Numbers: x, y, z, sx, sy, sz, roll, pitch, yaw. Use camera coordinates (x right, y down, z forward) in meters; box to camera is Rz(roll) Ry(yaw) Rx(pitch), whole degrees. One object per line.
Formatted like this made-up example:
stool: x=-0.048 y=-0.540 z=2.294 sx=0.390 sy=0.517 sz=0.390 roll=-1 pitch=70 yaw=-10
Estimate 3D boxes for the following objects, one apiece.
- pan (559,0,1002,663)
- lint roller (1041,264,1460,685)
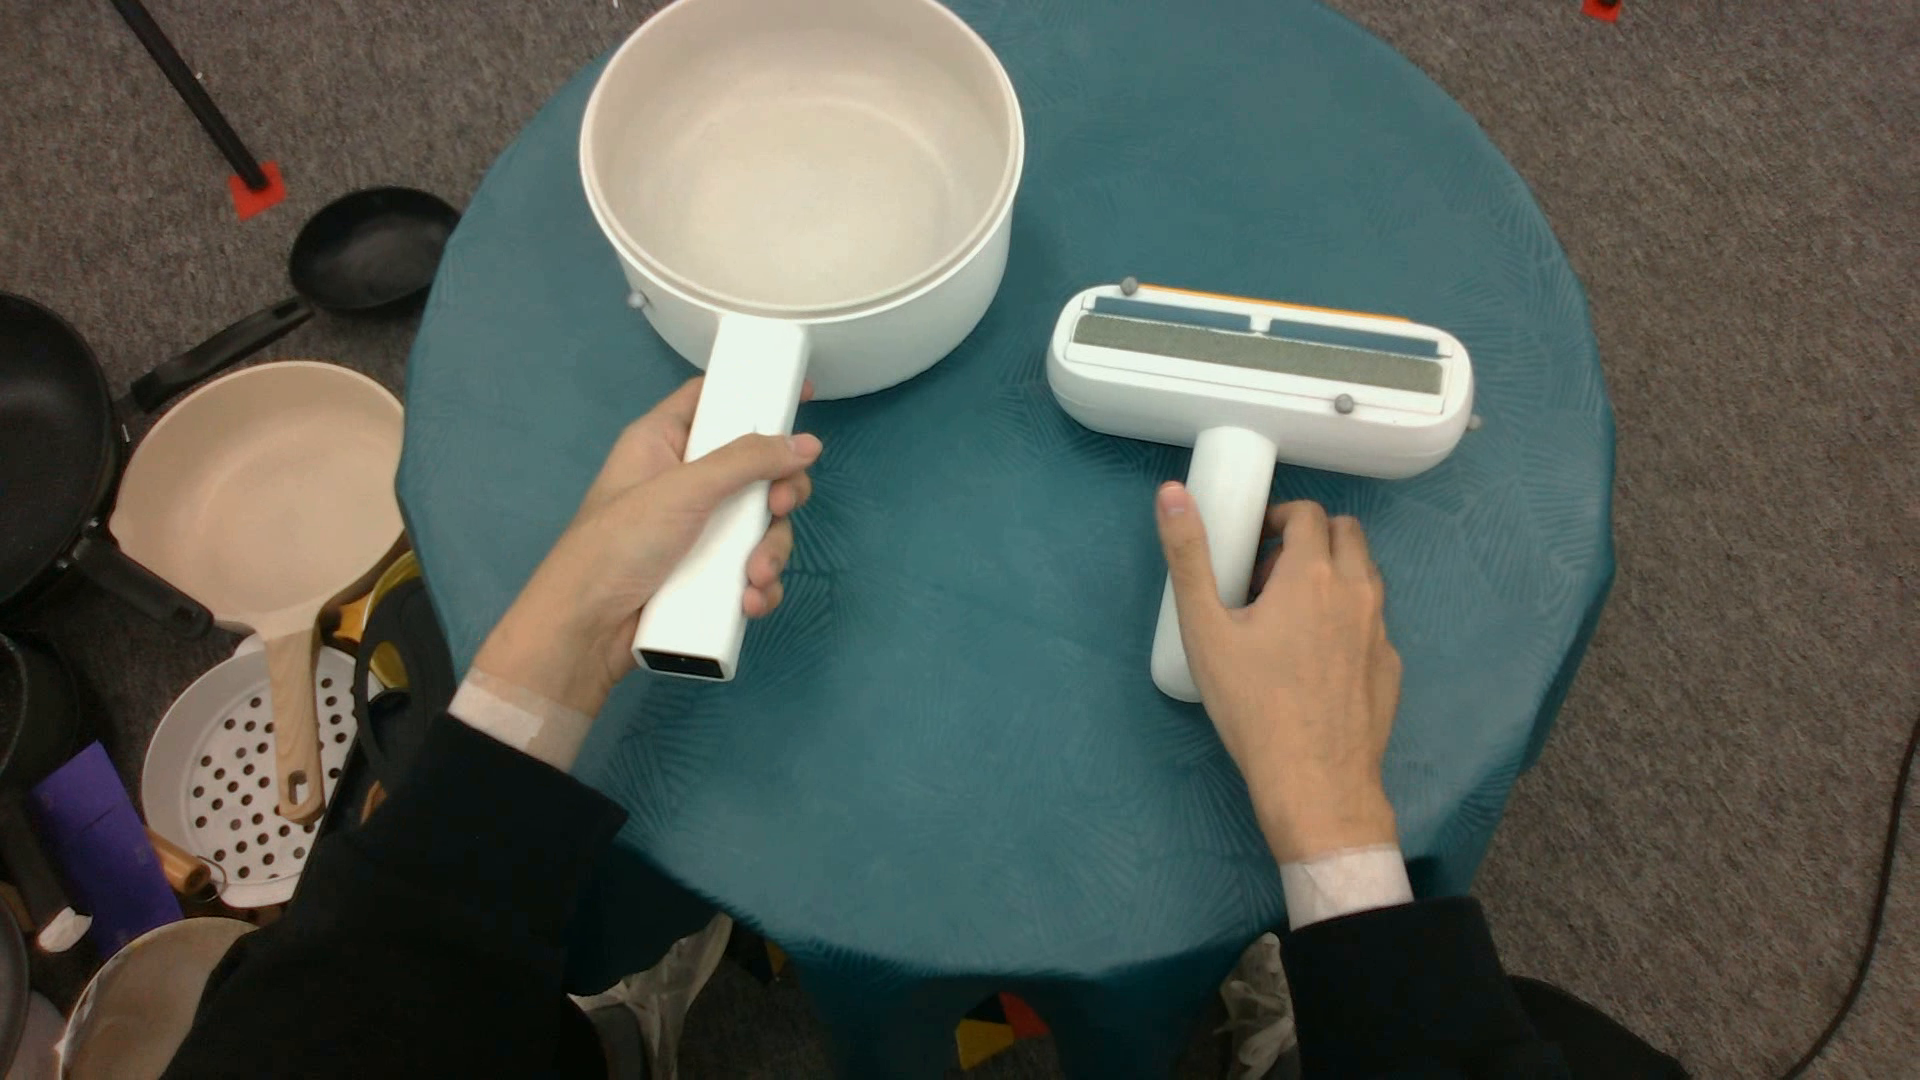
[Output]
pan: x=-0.092 y=-0.105 z=0.637 sx=0.201 sy=0.101 sz=0.356 roll=8 pitch=66 yaw=1
lint roller: x=0.115 y=-0.028 z=0.631 sx=0.193 sy=0.074 sz=0.193 roll=16 pitch=69 yaw=11
